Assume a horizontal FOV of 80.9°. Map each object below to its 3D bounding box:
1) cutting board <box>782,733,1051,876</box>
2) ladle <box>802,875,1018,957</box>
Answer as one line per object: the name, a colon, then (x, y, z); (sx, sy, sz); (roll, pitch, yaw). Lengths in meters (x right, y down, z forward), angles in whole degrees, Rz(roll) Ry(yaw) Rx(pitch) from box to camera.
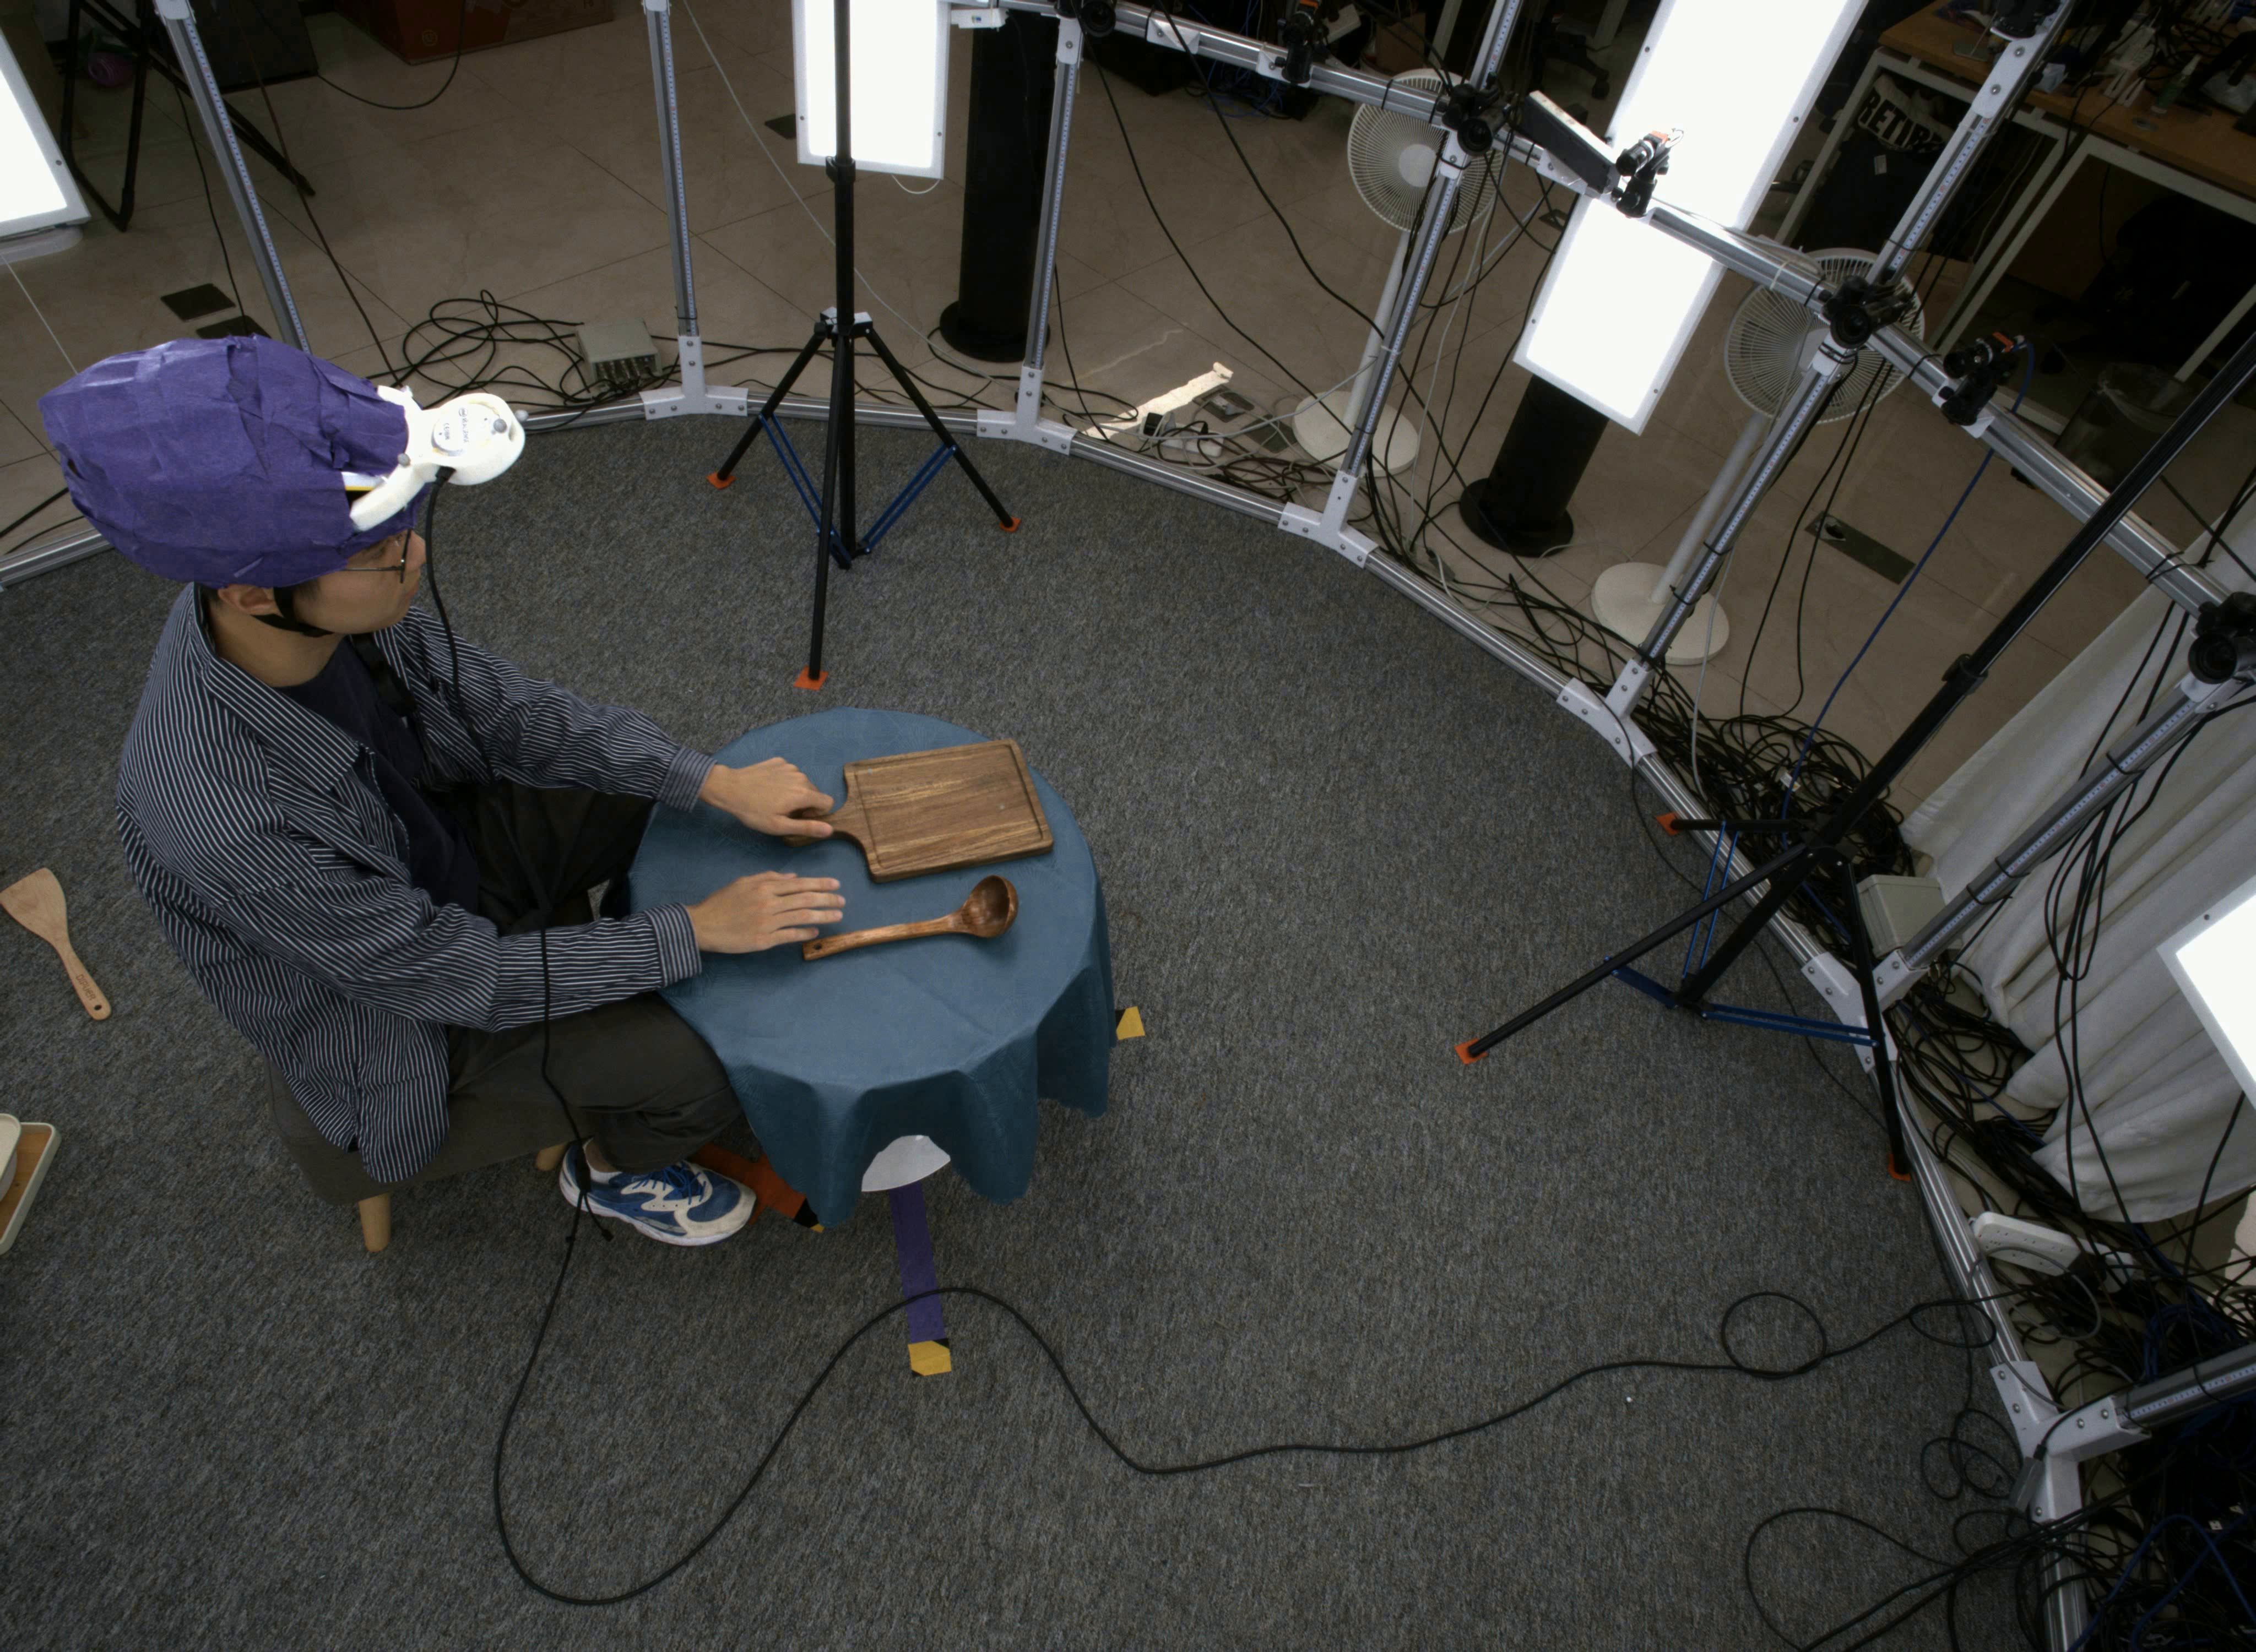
cutting board: (-0.296, -0.028, 1.779); (0.353, 0.023, 0.196); (-9, 57, -19)
ladle: (-0.274, 0.118, 1.640); (0.275, 0.078, 0.080); (-7, 55, -18)
